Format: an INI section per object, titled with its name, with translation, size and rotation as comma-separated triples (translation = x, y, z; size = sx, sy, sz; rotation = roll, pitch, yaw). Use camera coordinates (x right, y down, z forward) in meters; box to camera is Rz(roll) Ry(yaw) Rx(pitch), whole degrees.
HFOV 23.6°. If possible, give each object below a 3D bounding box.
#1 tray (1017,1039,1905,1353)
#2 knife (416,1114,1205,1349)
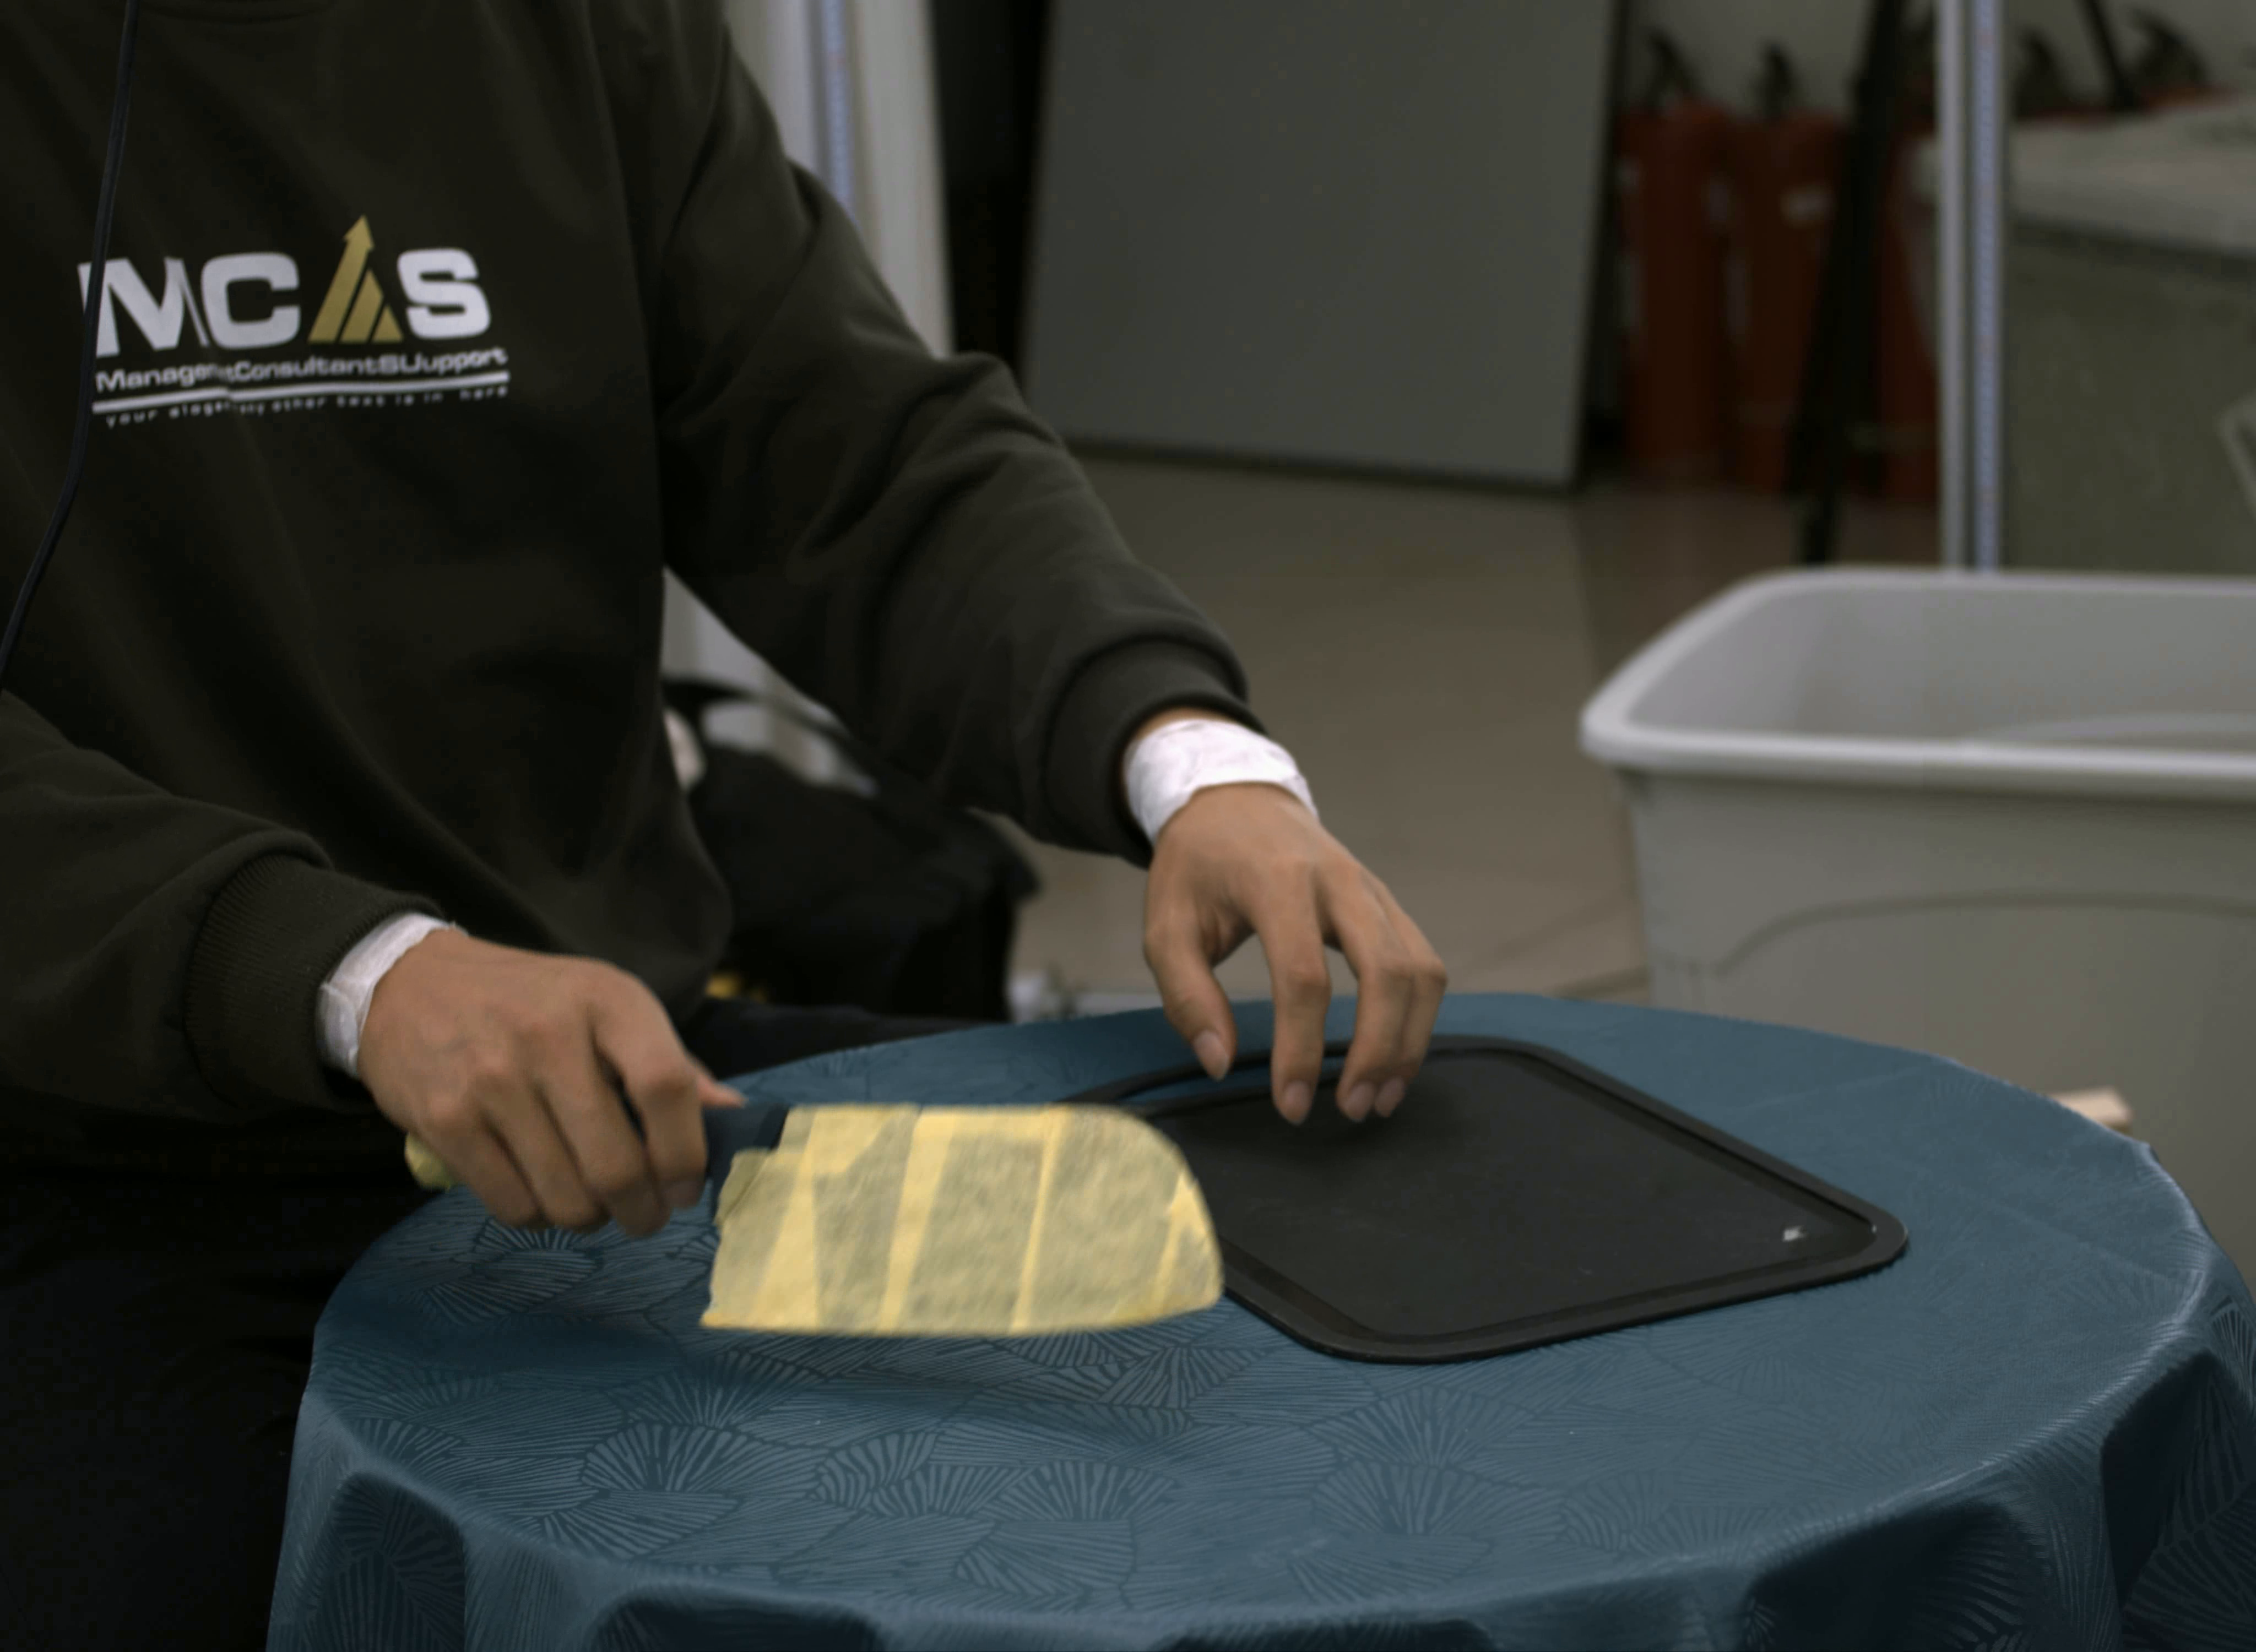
[tray]
translation = 0.097, 0.114, 1.760
size = 0.206, 0.010, 0.328
rotation = -10, 14, -22
[knife]
translation = -0.100, 0.121, 1.626
size = 0.291, 0.081, 0.027
rotation = 0, -30, 32
